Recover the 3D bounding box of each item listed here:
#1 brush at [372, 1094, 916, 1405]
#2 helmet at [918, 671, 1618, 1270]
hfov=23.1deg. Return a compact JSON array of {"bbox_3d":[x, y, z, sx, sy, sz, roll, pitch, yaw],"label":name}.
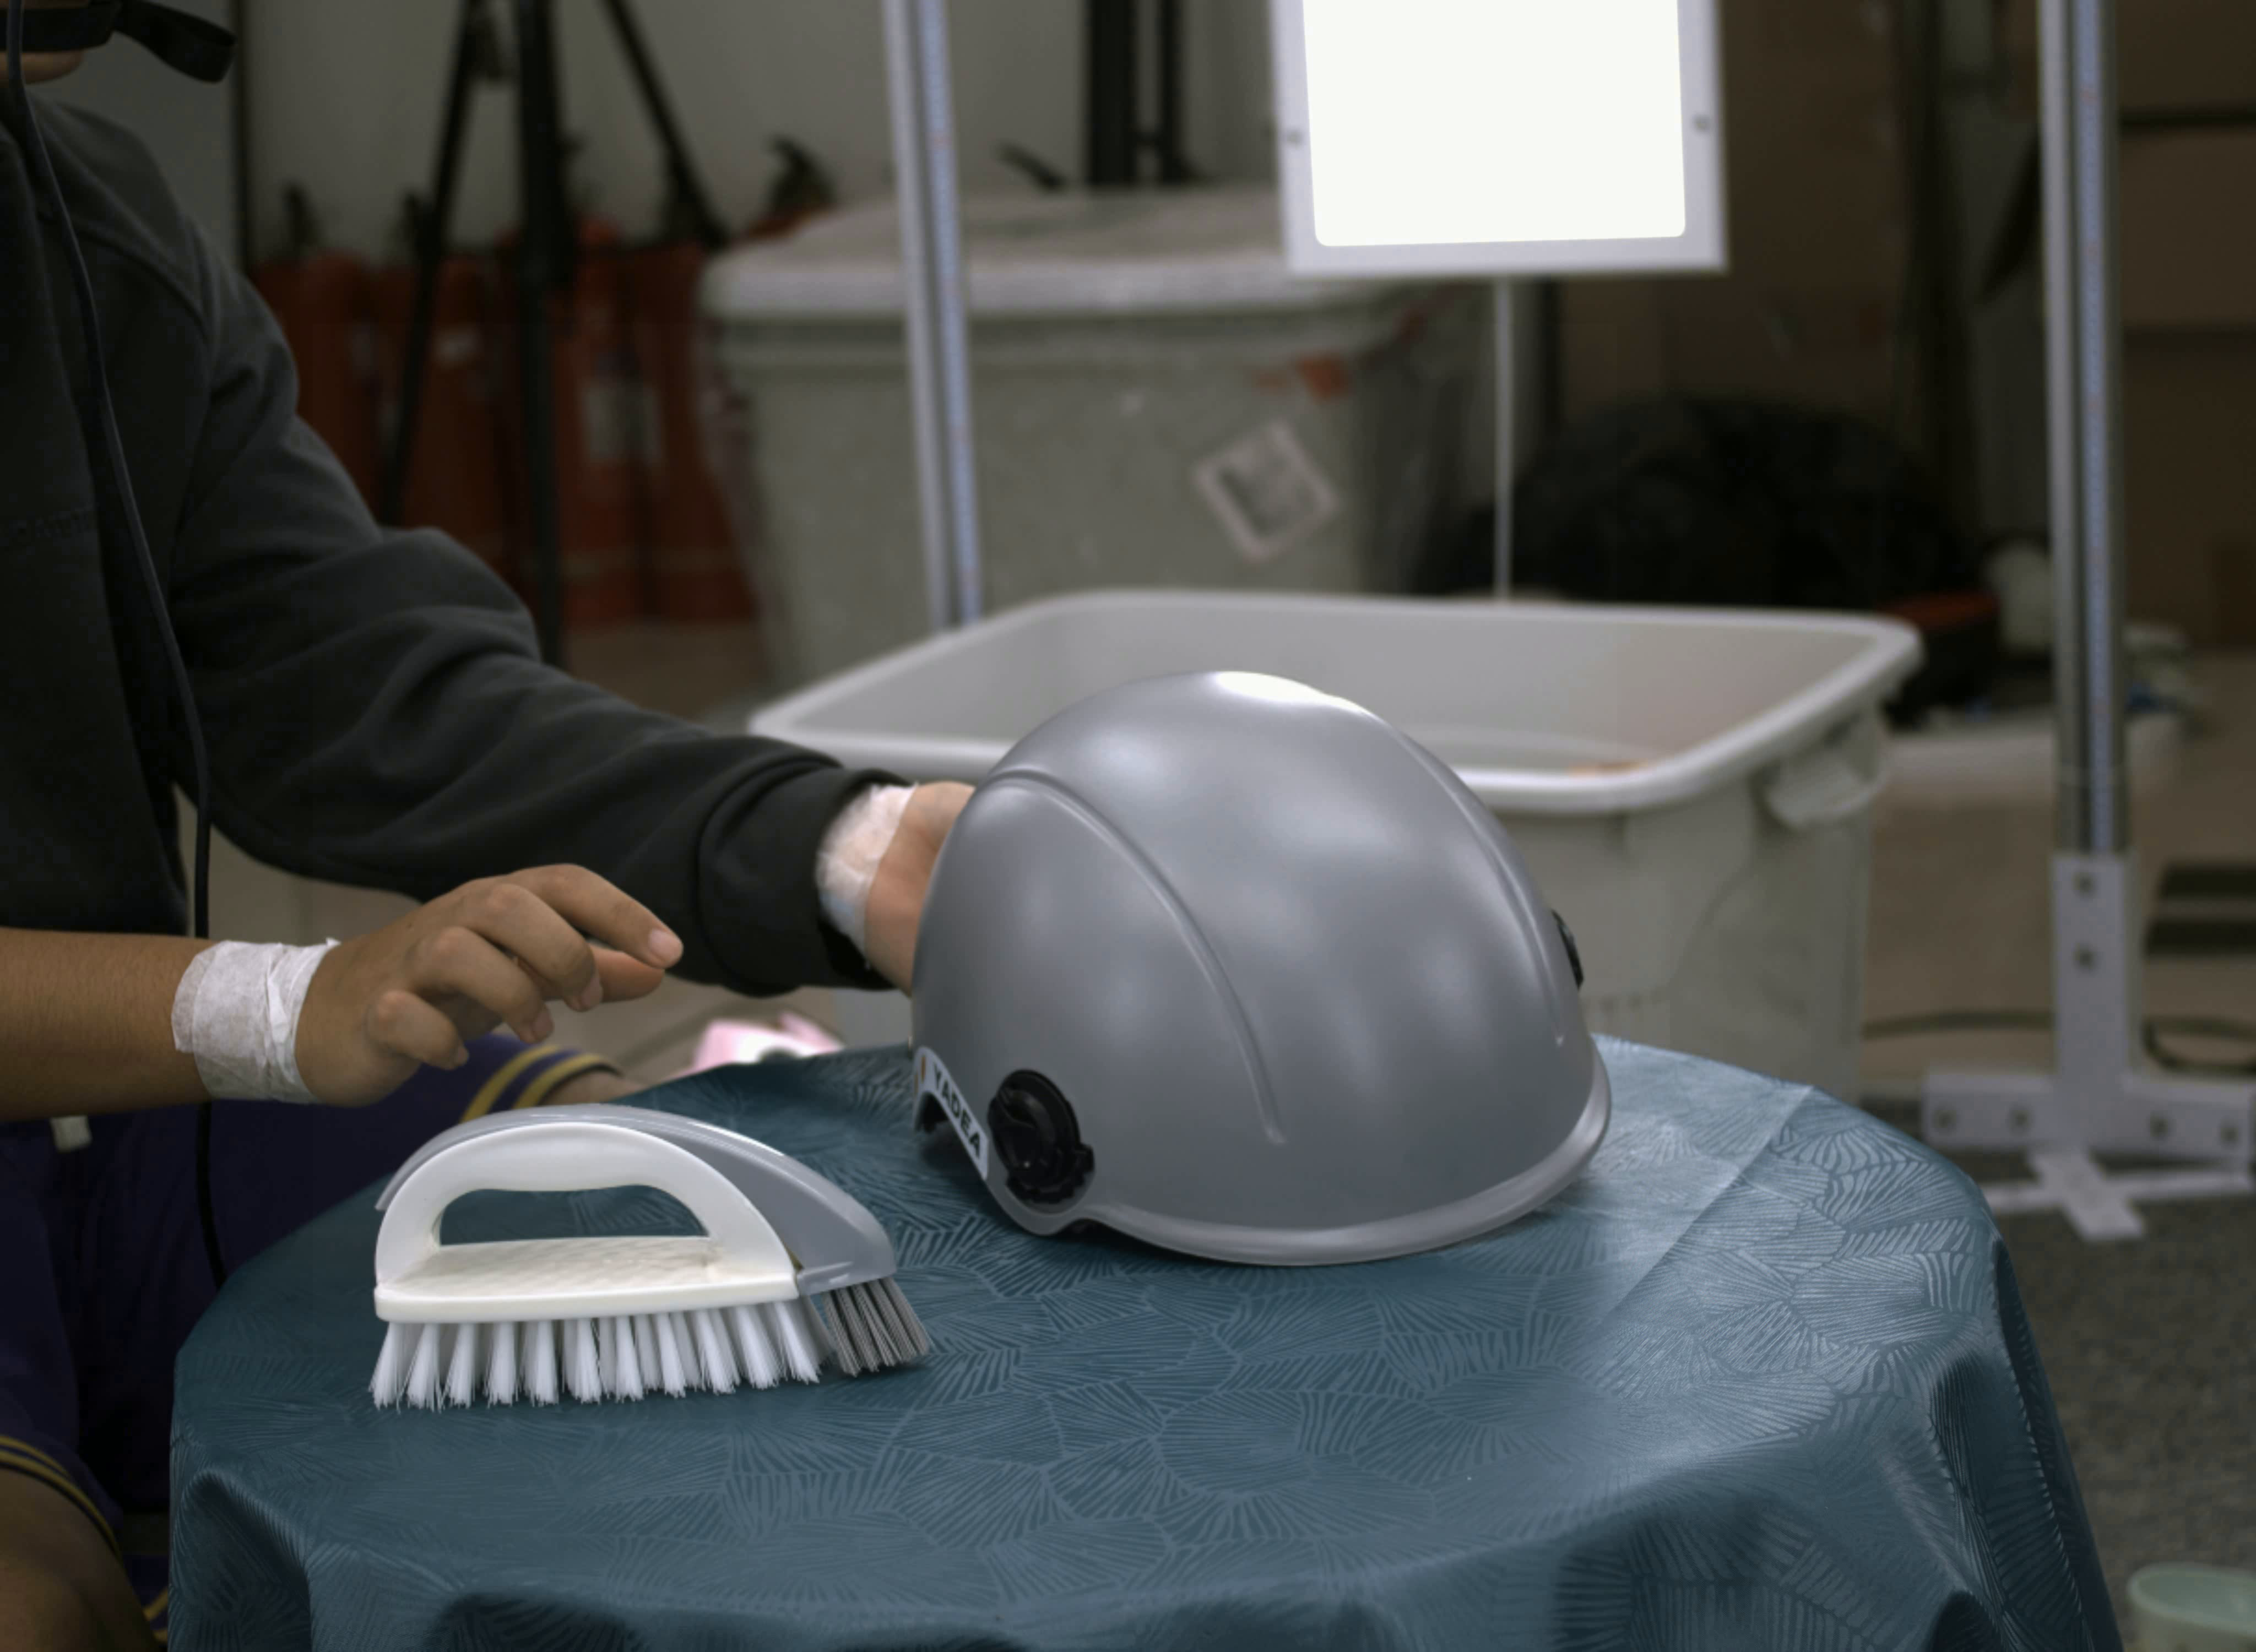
[{"bbox_3d":[-0.155,0.130,1.749,0.176,0.094,0.061,0,16,11],"label":"brush"},{"bbox_3d":[0.039,0.035,1.905,0.227,0.169,0.281,-19,20,-24],"label":"helmet"}]
